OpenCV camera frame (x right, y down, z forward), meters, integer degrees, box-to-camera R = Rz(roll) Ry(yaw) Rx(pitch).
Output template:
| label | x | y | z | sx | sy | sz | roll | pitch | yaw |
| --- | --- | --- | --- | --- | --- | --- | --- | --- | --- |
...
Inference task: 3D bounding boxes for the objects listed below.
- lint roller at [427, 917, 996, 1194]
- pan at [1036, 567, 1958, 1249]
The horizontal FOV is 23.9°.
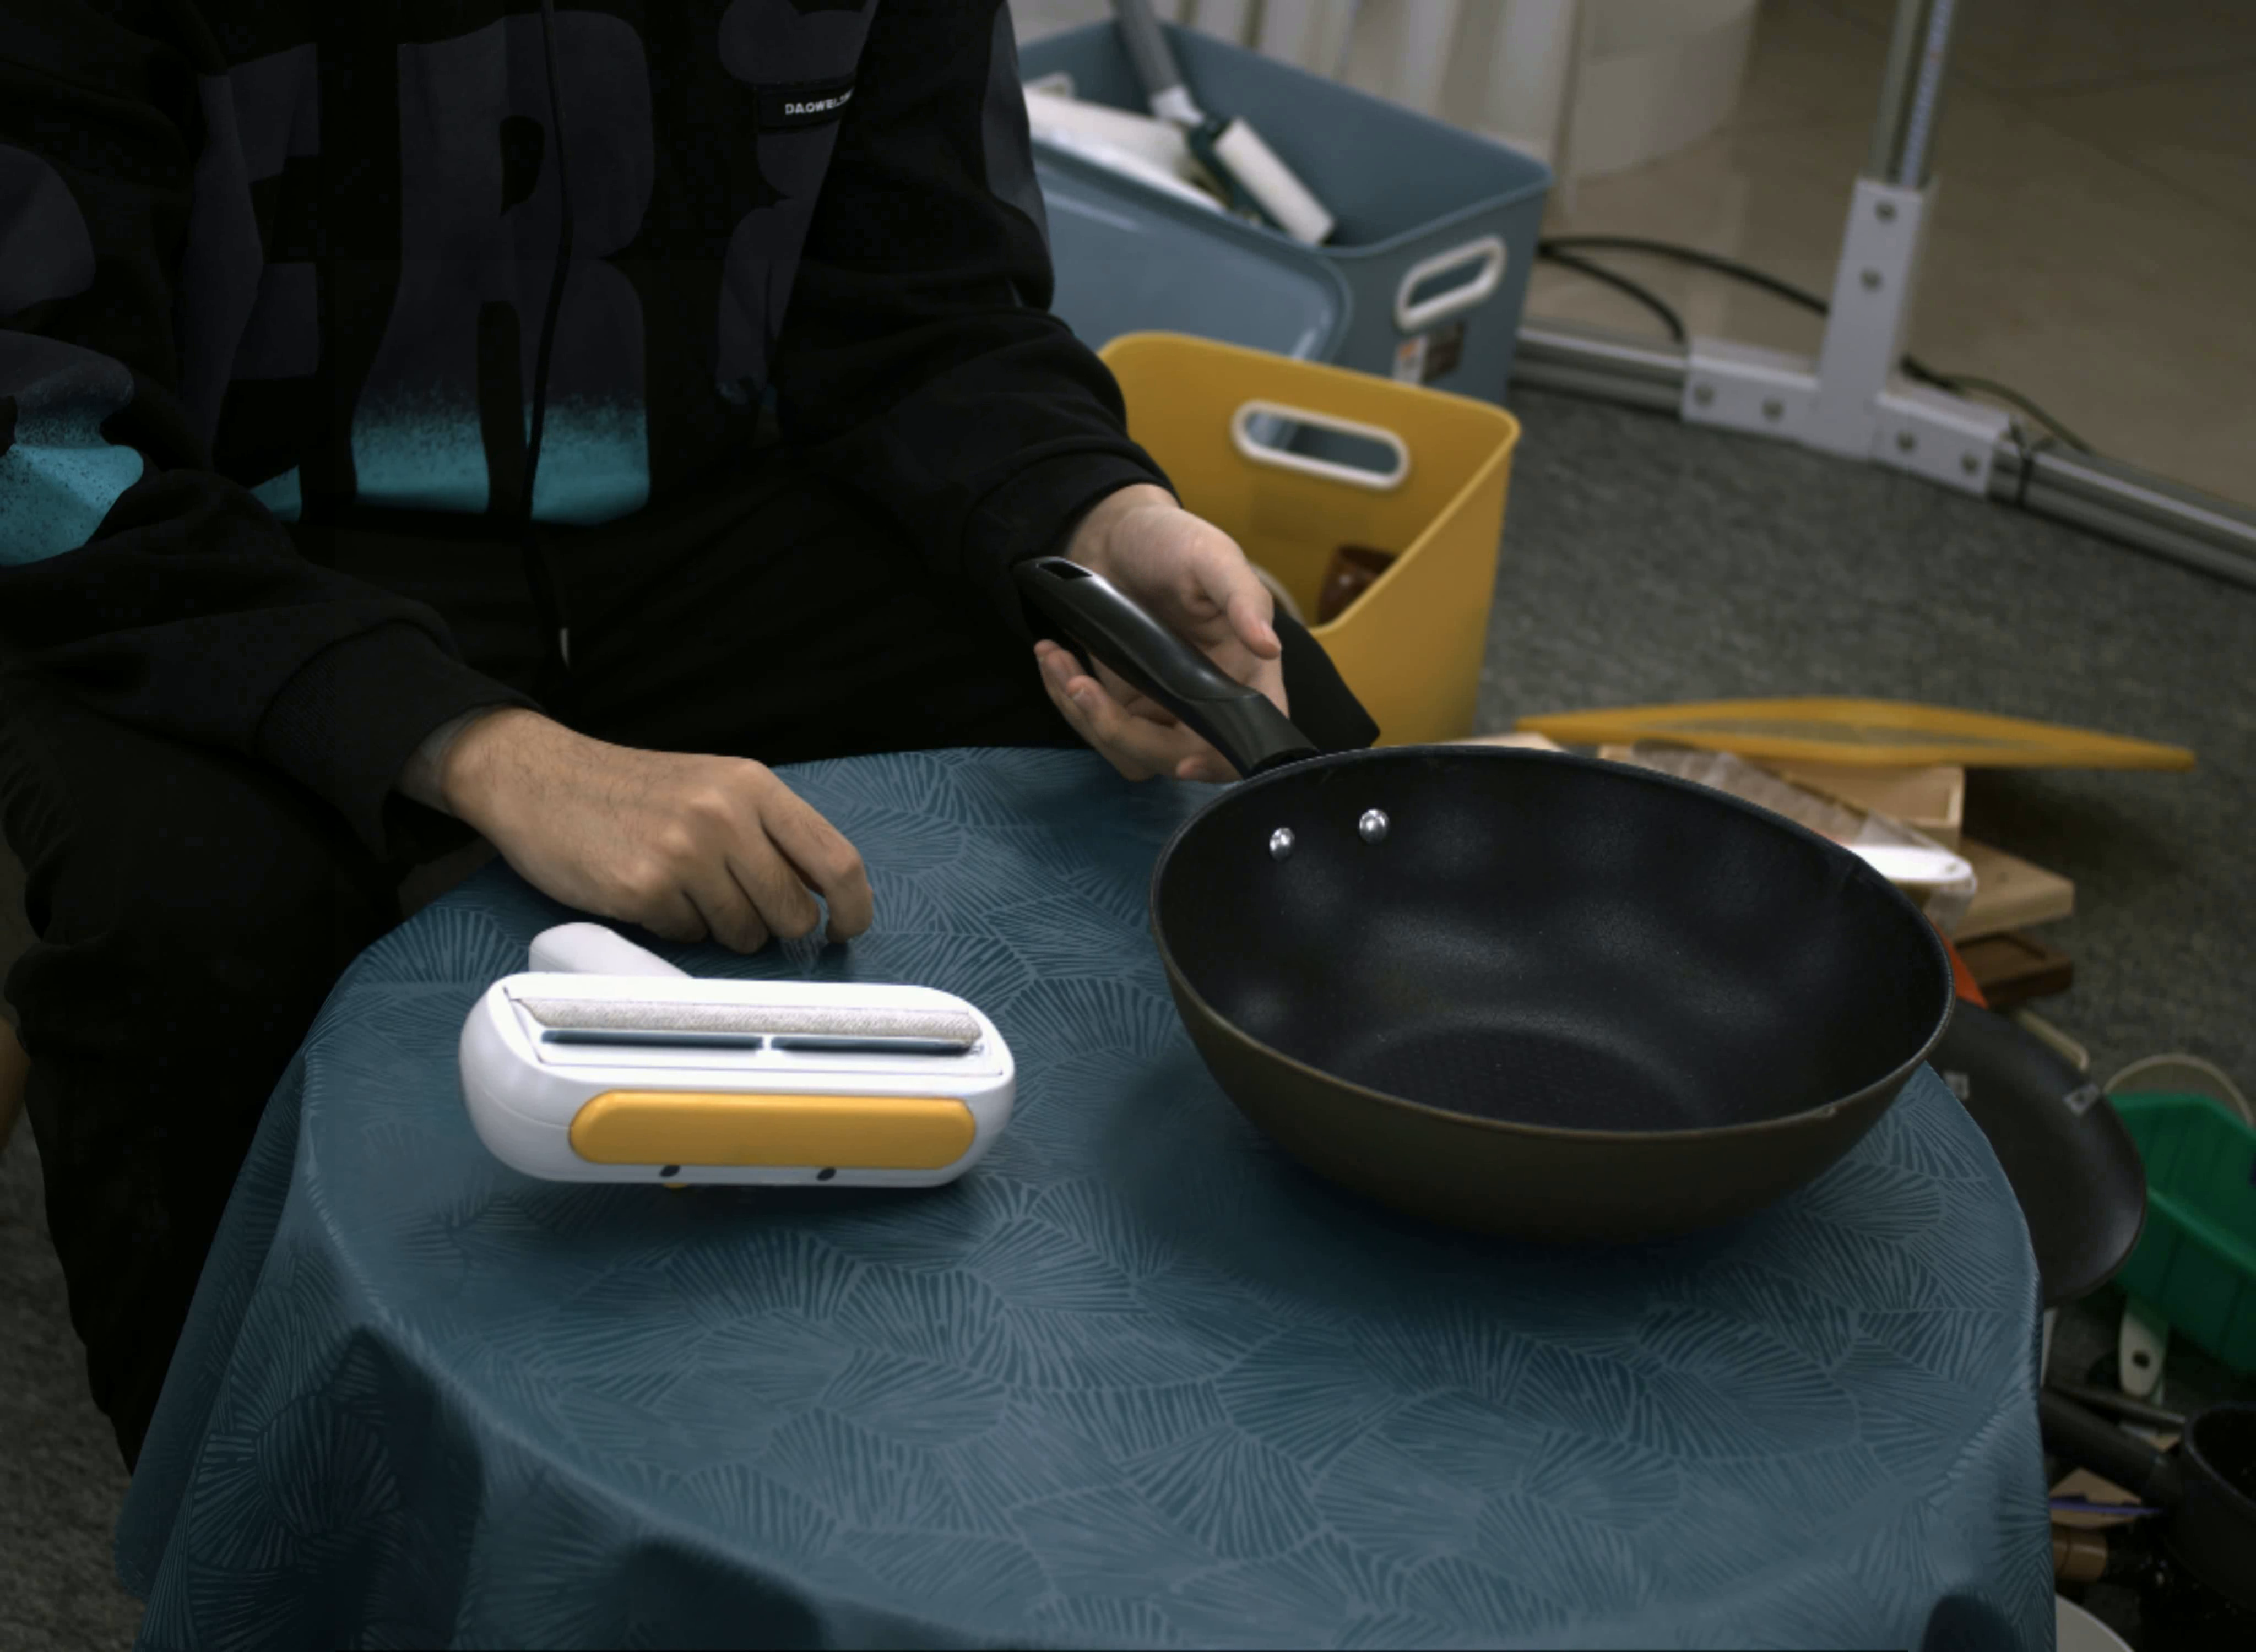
| label | x | y | z | sx | sy | sz | roll | pitch | yaw |
| --- | --- | --- | --- | --- | --- | --- | --- | --- | --- |
| lint roller | -0.158 | 0.065 | 1.804 | 0.191 | 0.074 | 0.194 | 0 | 25 | -24 |
| pan | 0.090 | 0.031 | 1.909 | 0.286 | 0.086 | 0.467 | -12 | 32 | -32 |
